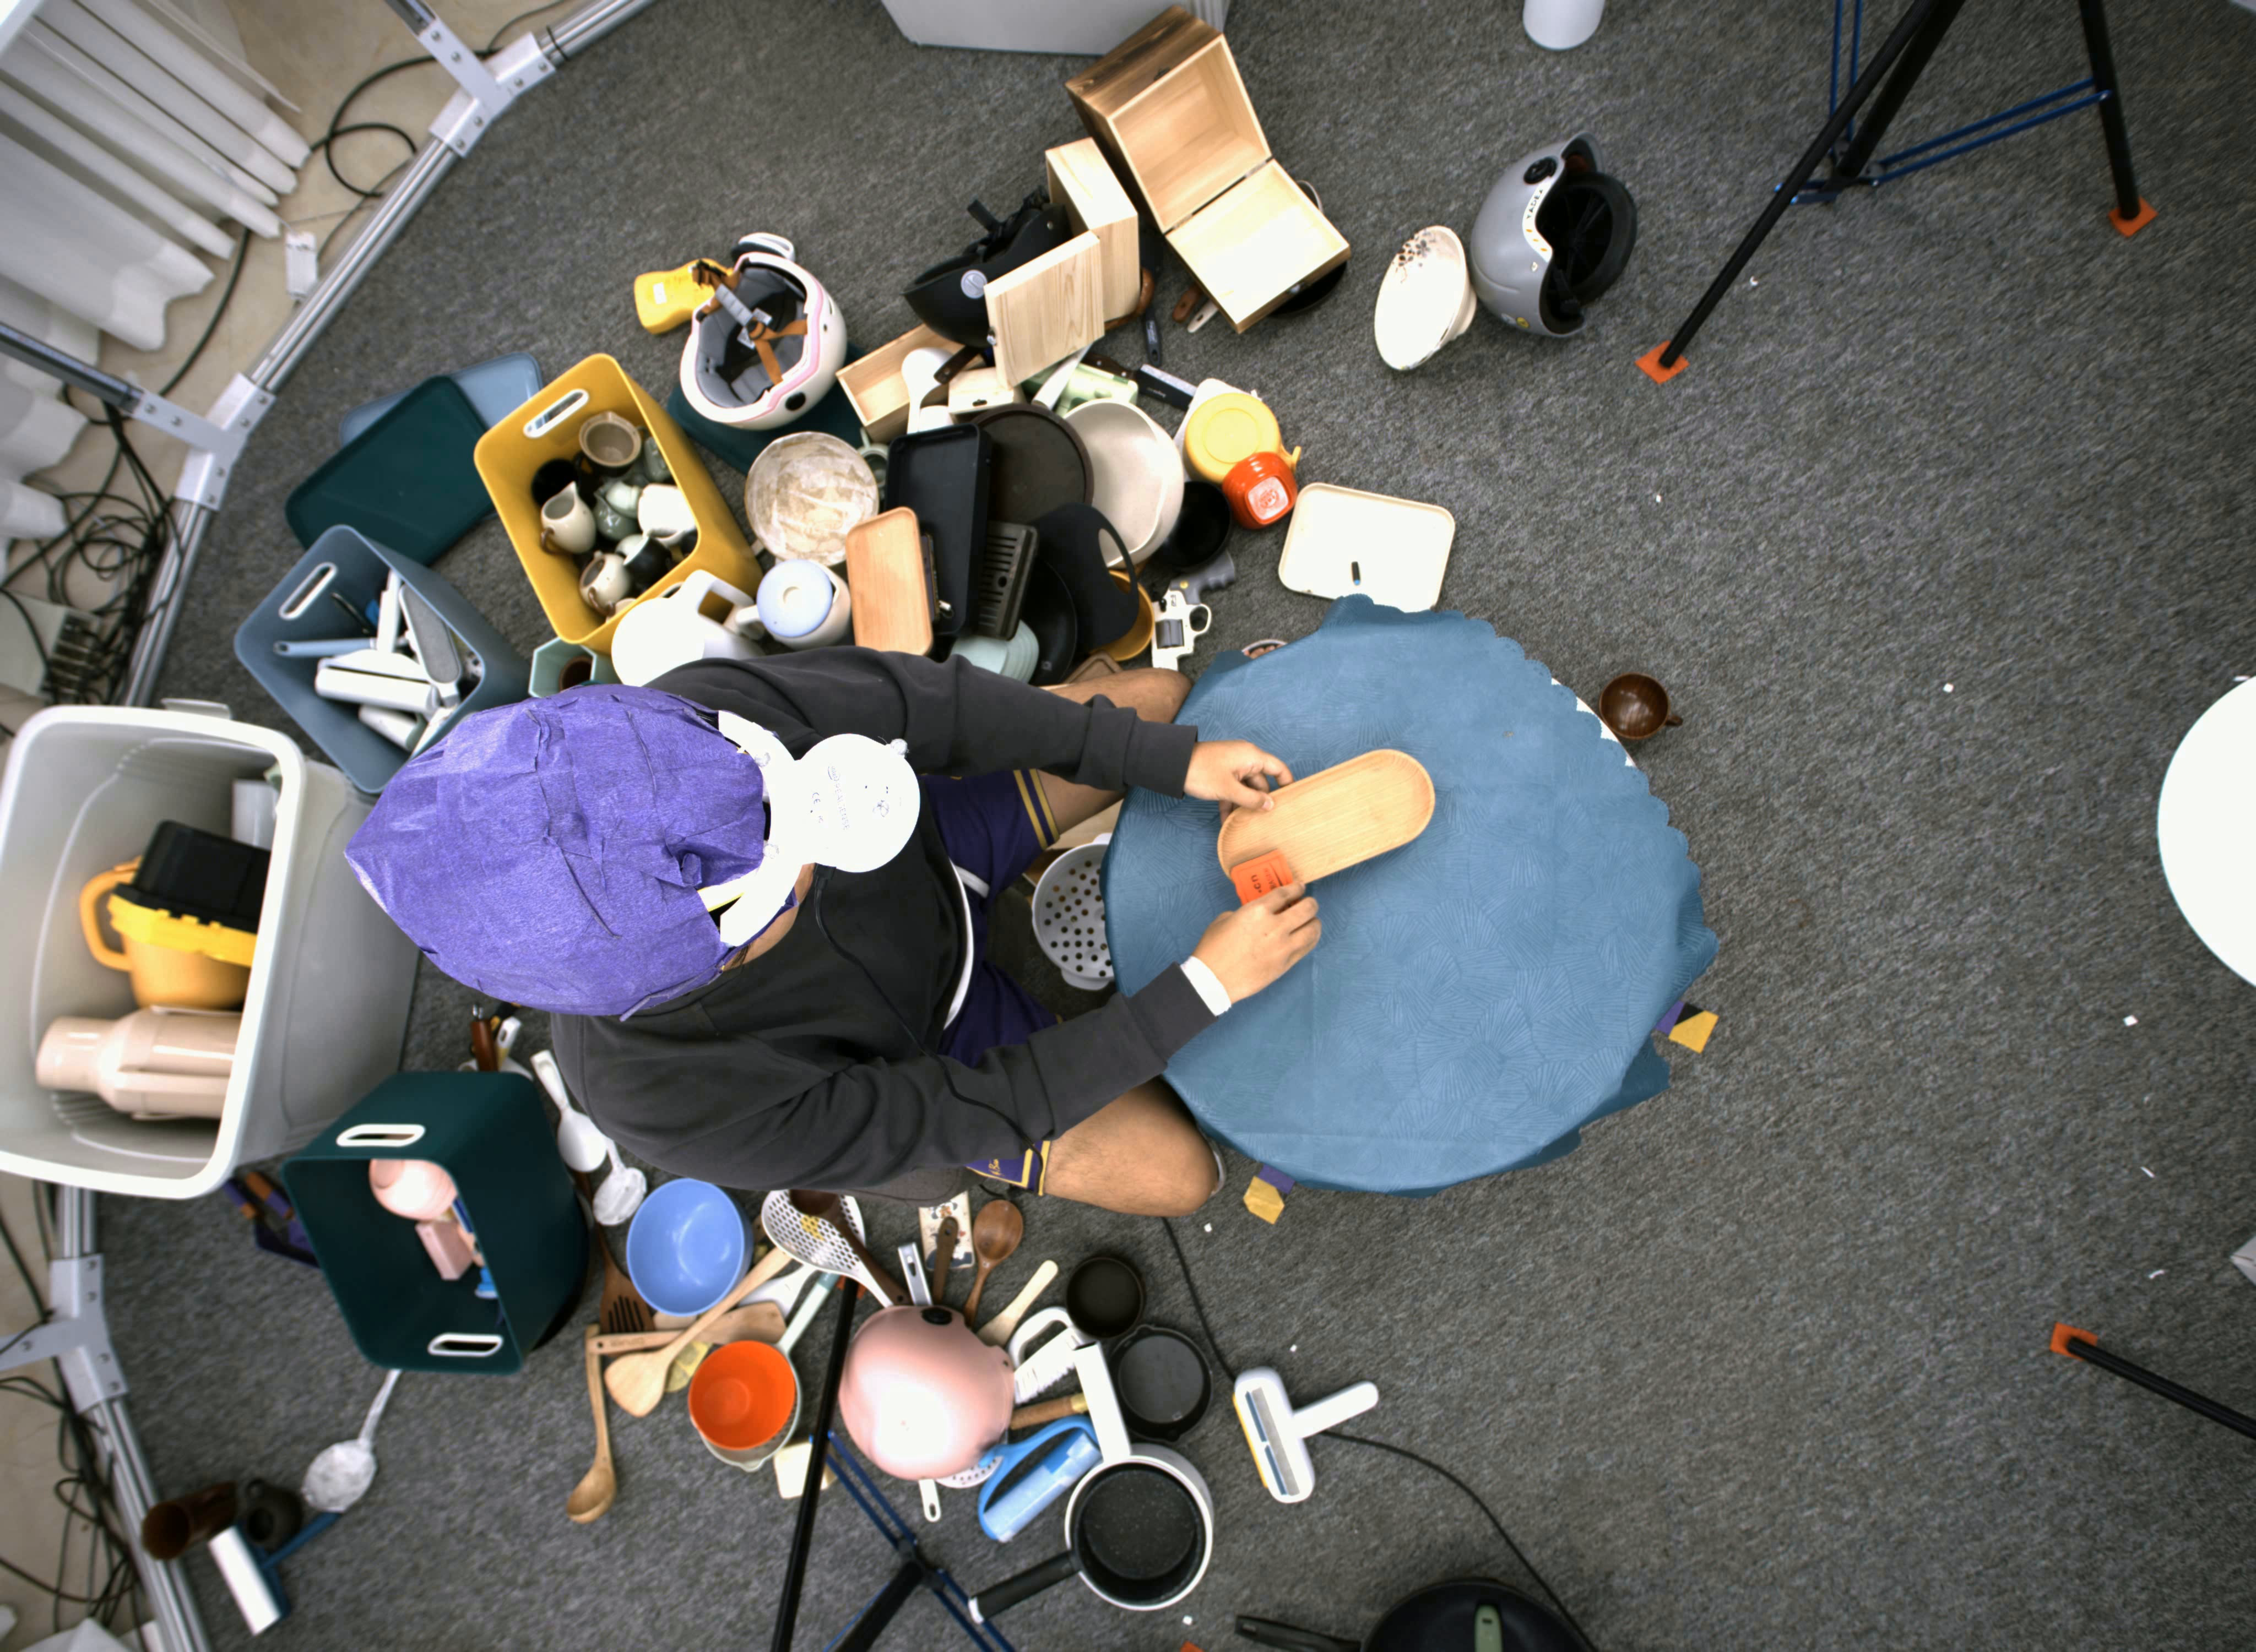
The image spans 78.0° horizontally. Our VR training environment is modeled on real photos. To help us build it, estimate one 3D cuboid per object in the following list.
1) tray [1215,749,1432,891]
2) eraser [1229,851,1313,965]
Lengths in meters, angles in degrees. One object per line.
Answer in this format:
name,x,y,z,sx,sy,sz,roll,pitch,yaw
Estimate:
tray,0.200,-0.003,1.414,0.232,0.020,0.101,-24,91,5
eraser,0.145,0.082,1.404,0.059,0.023,0.108,-20,94,-5
